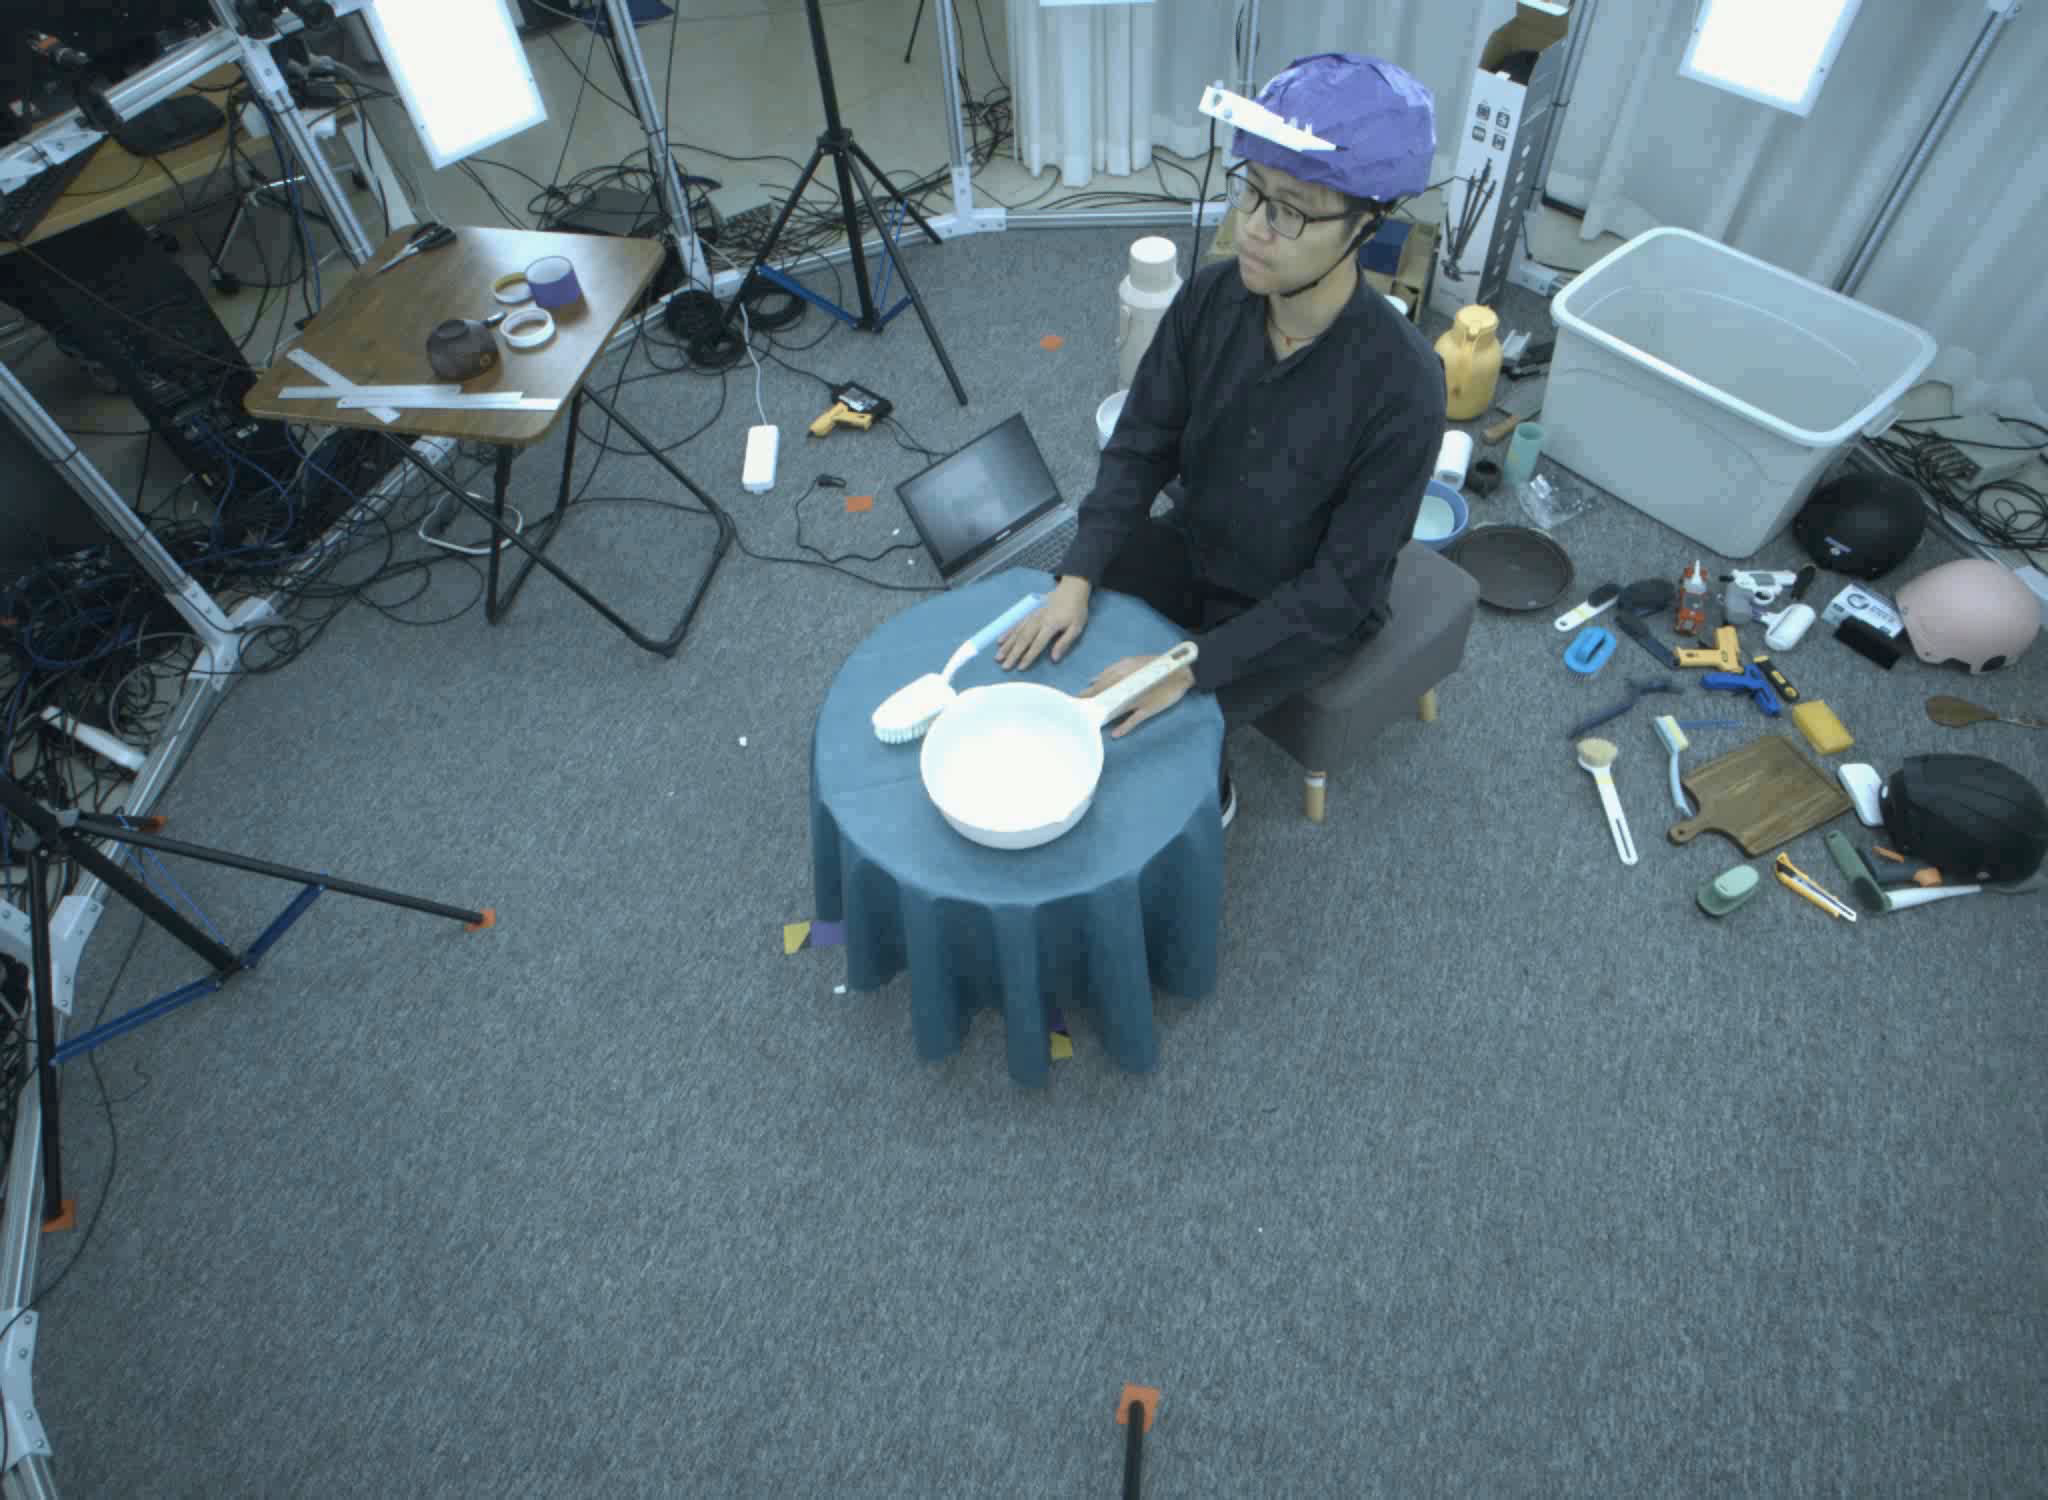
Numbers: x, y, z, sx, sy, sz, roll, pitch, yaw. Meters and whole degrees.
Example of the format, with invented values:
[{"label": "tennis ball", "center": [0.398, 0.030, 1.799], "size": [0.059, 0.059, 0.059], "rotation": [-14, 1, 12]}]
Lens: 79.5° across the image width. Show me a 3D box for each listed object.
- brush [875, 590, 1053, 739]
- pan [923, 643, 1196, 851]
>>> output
[{"label": "brush", "center": [-0.080, -0.118, 1.823], "size": [0.326, 0.084, 0.083], "rotation": [-37, 97, -8]}, {"label": "pan", "center": [0.065, -0.017, 1.736], "size": [0.438, 0.103, 0.258], "rotation": [-29, 58, -17]}]
